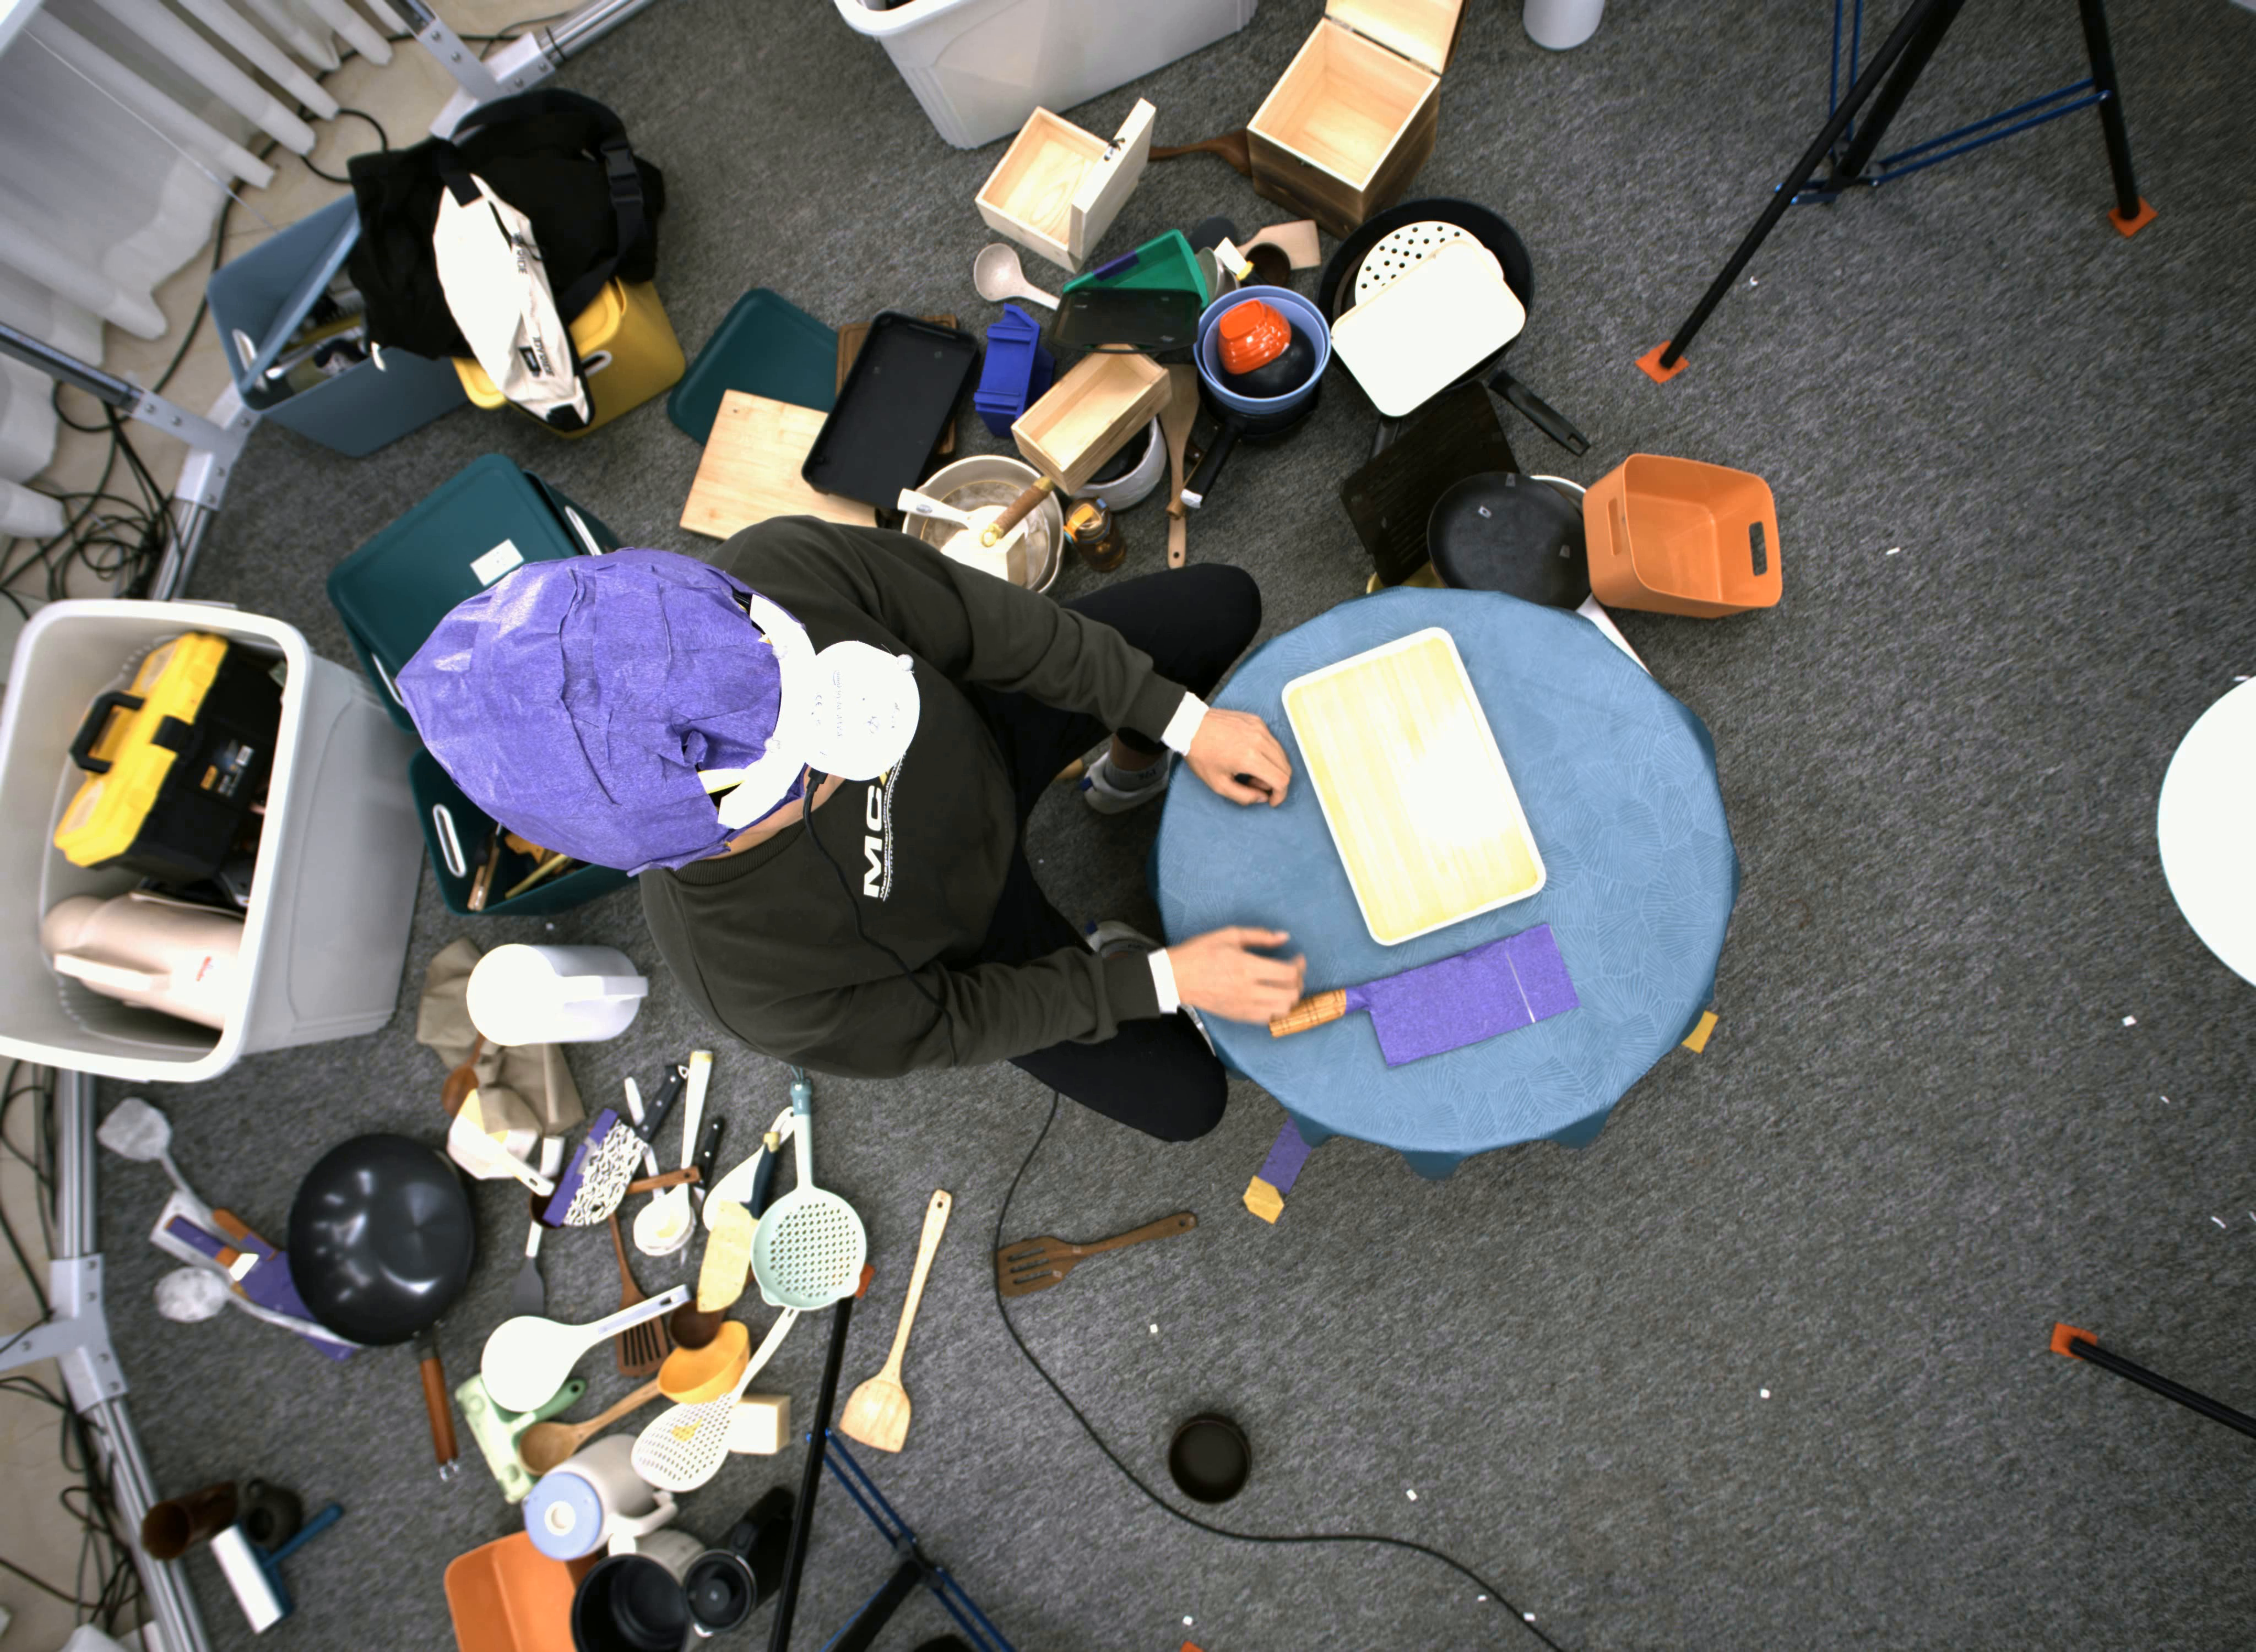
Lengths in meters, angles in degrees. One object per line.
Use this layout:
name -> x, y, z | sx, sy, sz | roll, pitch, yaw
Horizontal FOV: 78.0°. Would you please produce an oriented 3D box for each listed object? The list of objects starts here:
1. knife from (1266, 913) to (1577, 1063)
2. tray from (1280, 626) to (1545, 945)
knife -> 0.305, 0.188, 1.433 | 0.317, 0.032, 0.103 | -20, 83, 8
tray -> 0.296, -0.044, 1.448 | 0.193, 0.027, 0.298 | -21, 83, 9
